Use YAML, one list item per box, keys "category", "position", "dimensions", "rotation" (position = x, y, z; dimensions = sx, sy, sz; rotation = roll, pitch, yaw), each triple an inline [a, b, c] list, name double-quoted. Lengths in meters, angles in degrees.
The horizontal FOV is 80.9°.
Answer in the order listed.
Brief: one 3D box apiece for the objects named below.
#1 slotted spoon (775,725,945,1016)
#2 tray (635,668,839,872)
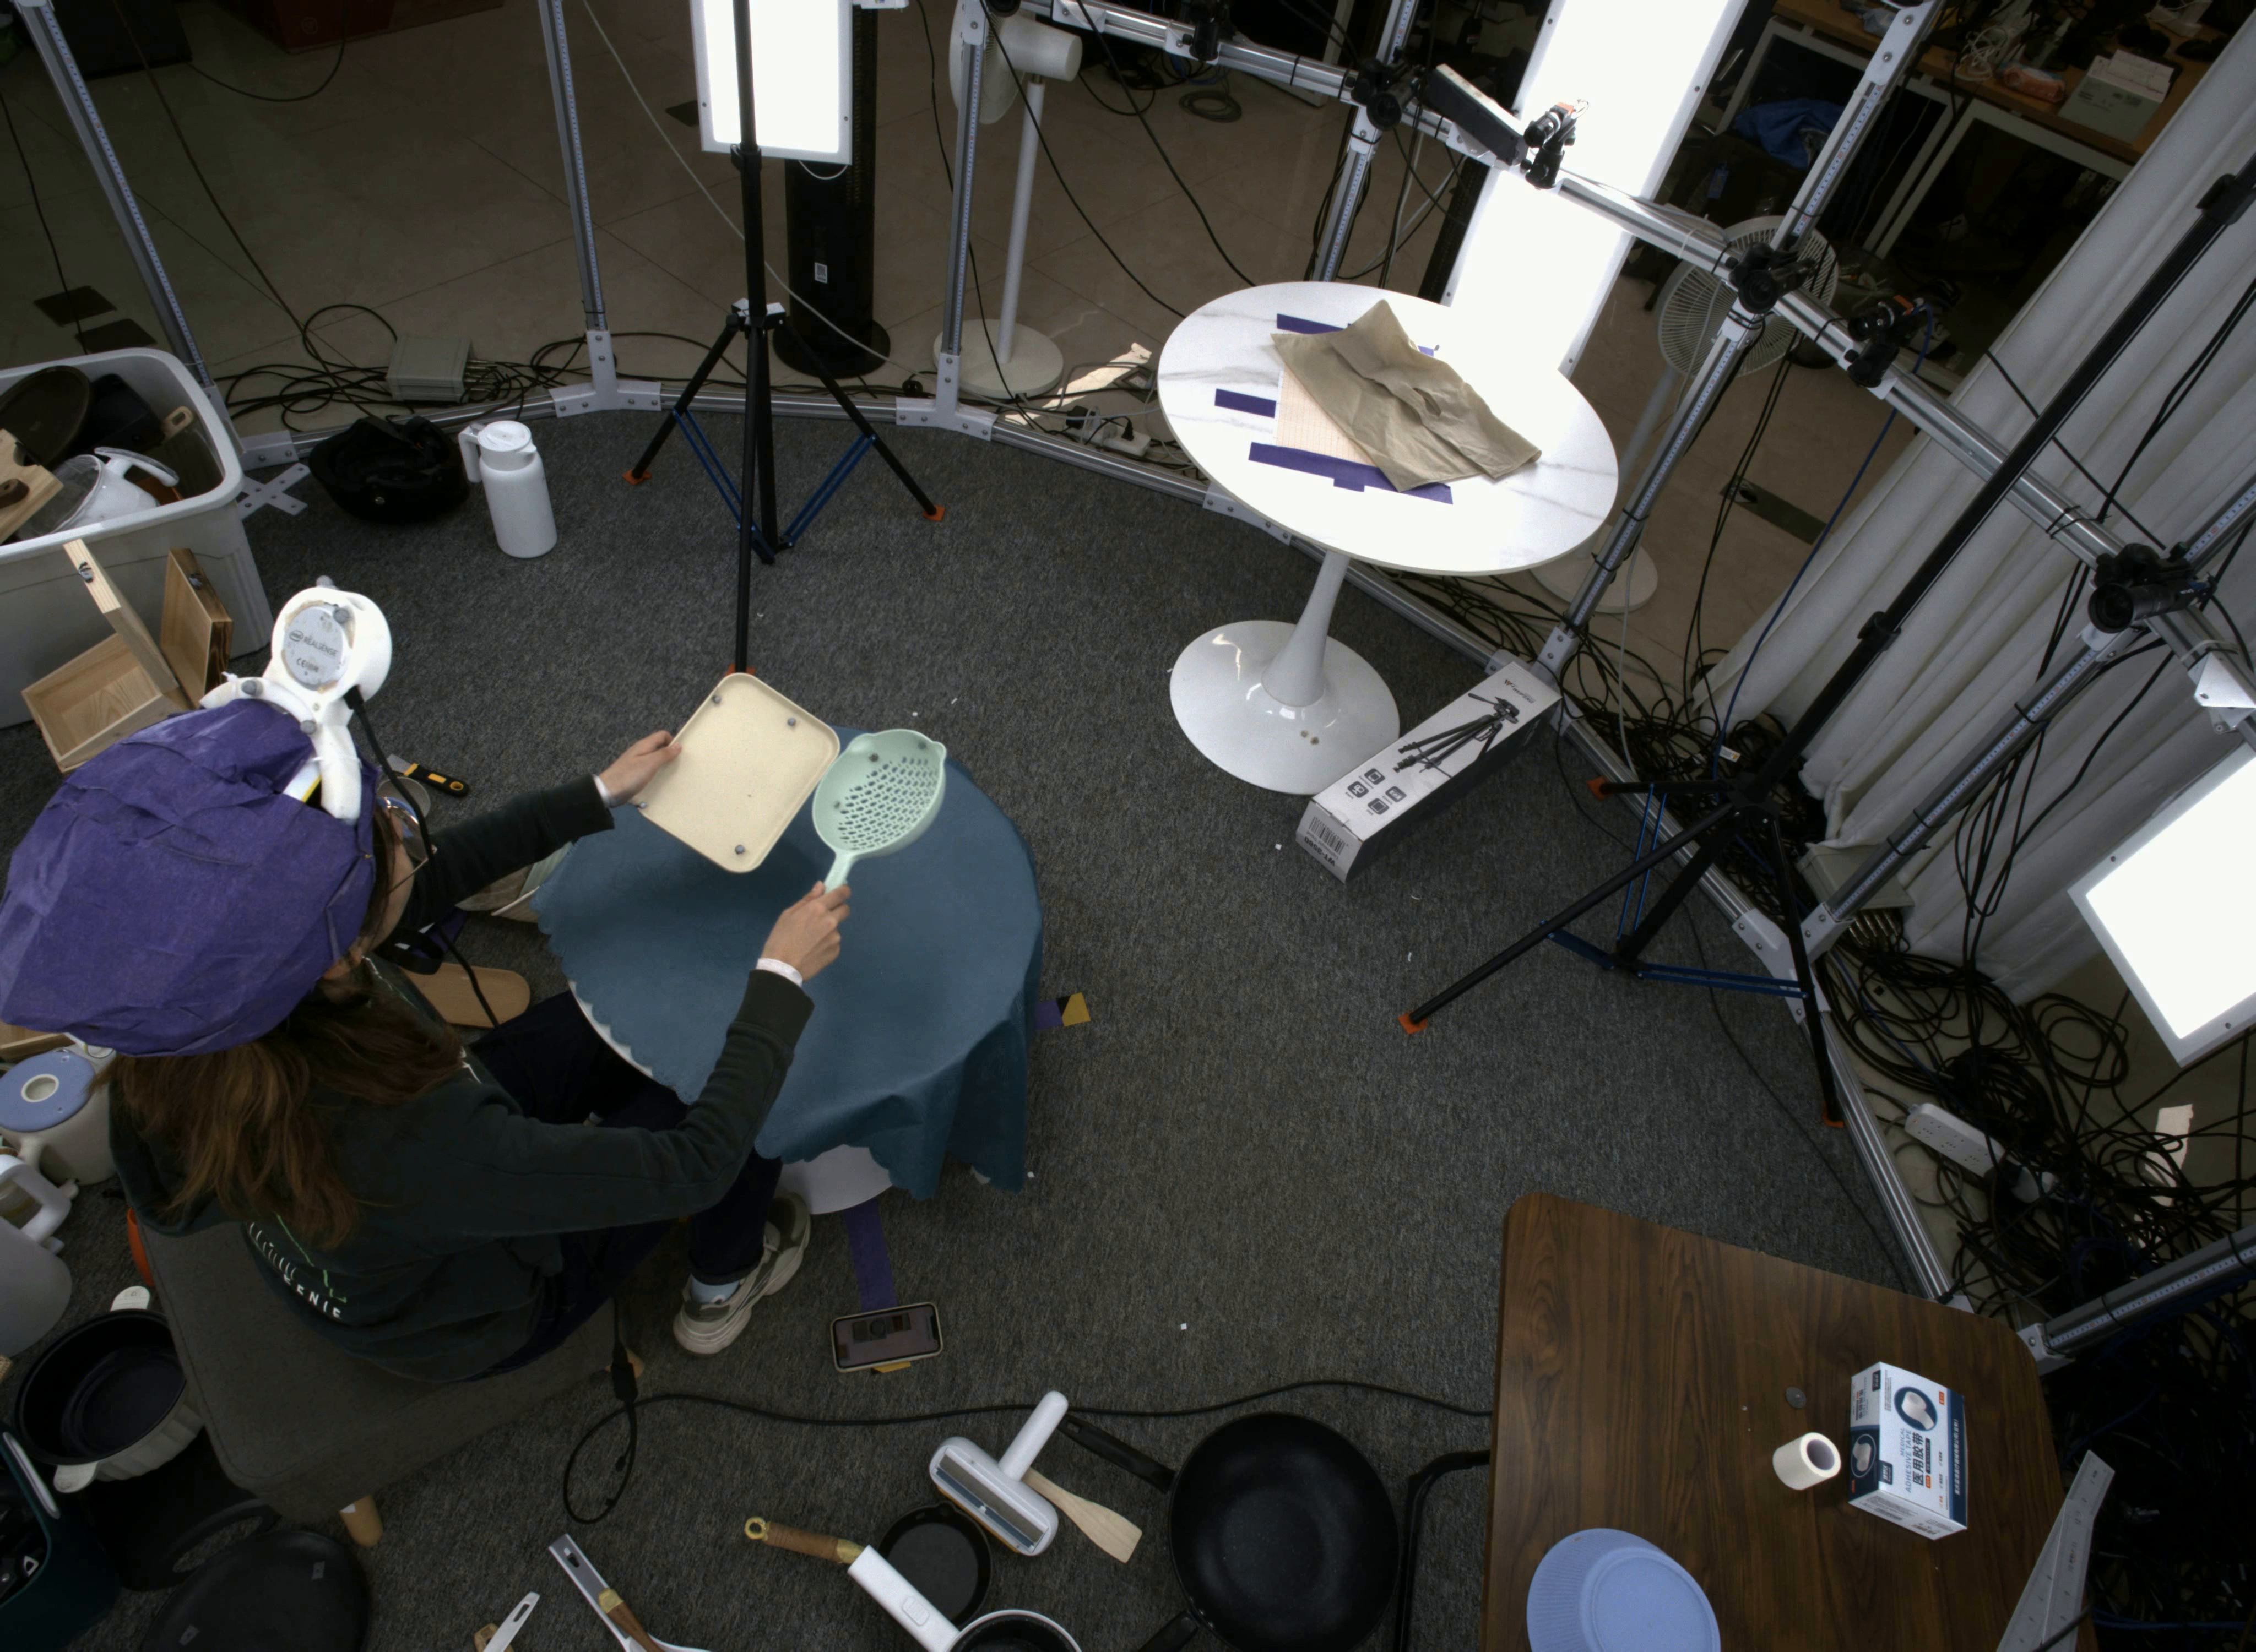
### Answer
- category: "slotted spoon"
  position: [-0.320, 0.043, 1.473]
  dimensions: [0.164, 0.078, 0.357]
  rotation: [9, 56, 27]
- category: "tray"
  position: [-0.472, -0.070, 1.567]
  dimensions: [0.173, 0.017, 0.238]
  rotation: [35, 57, -12]
